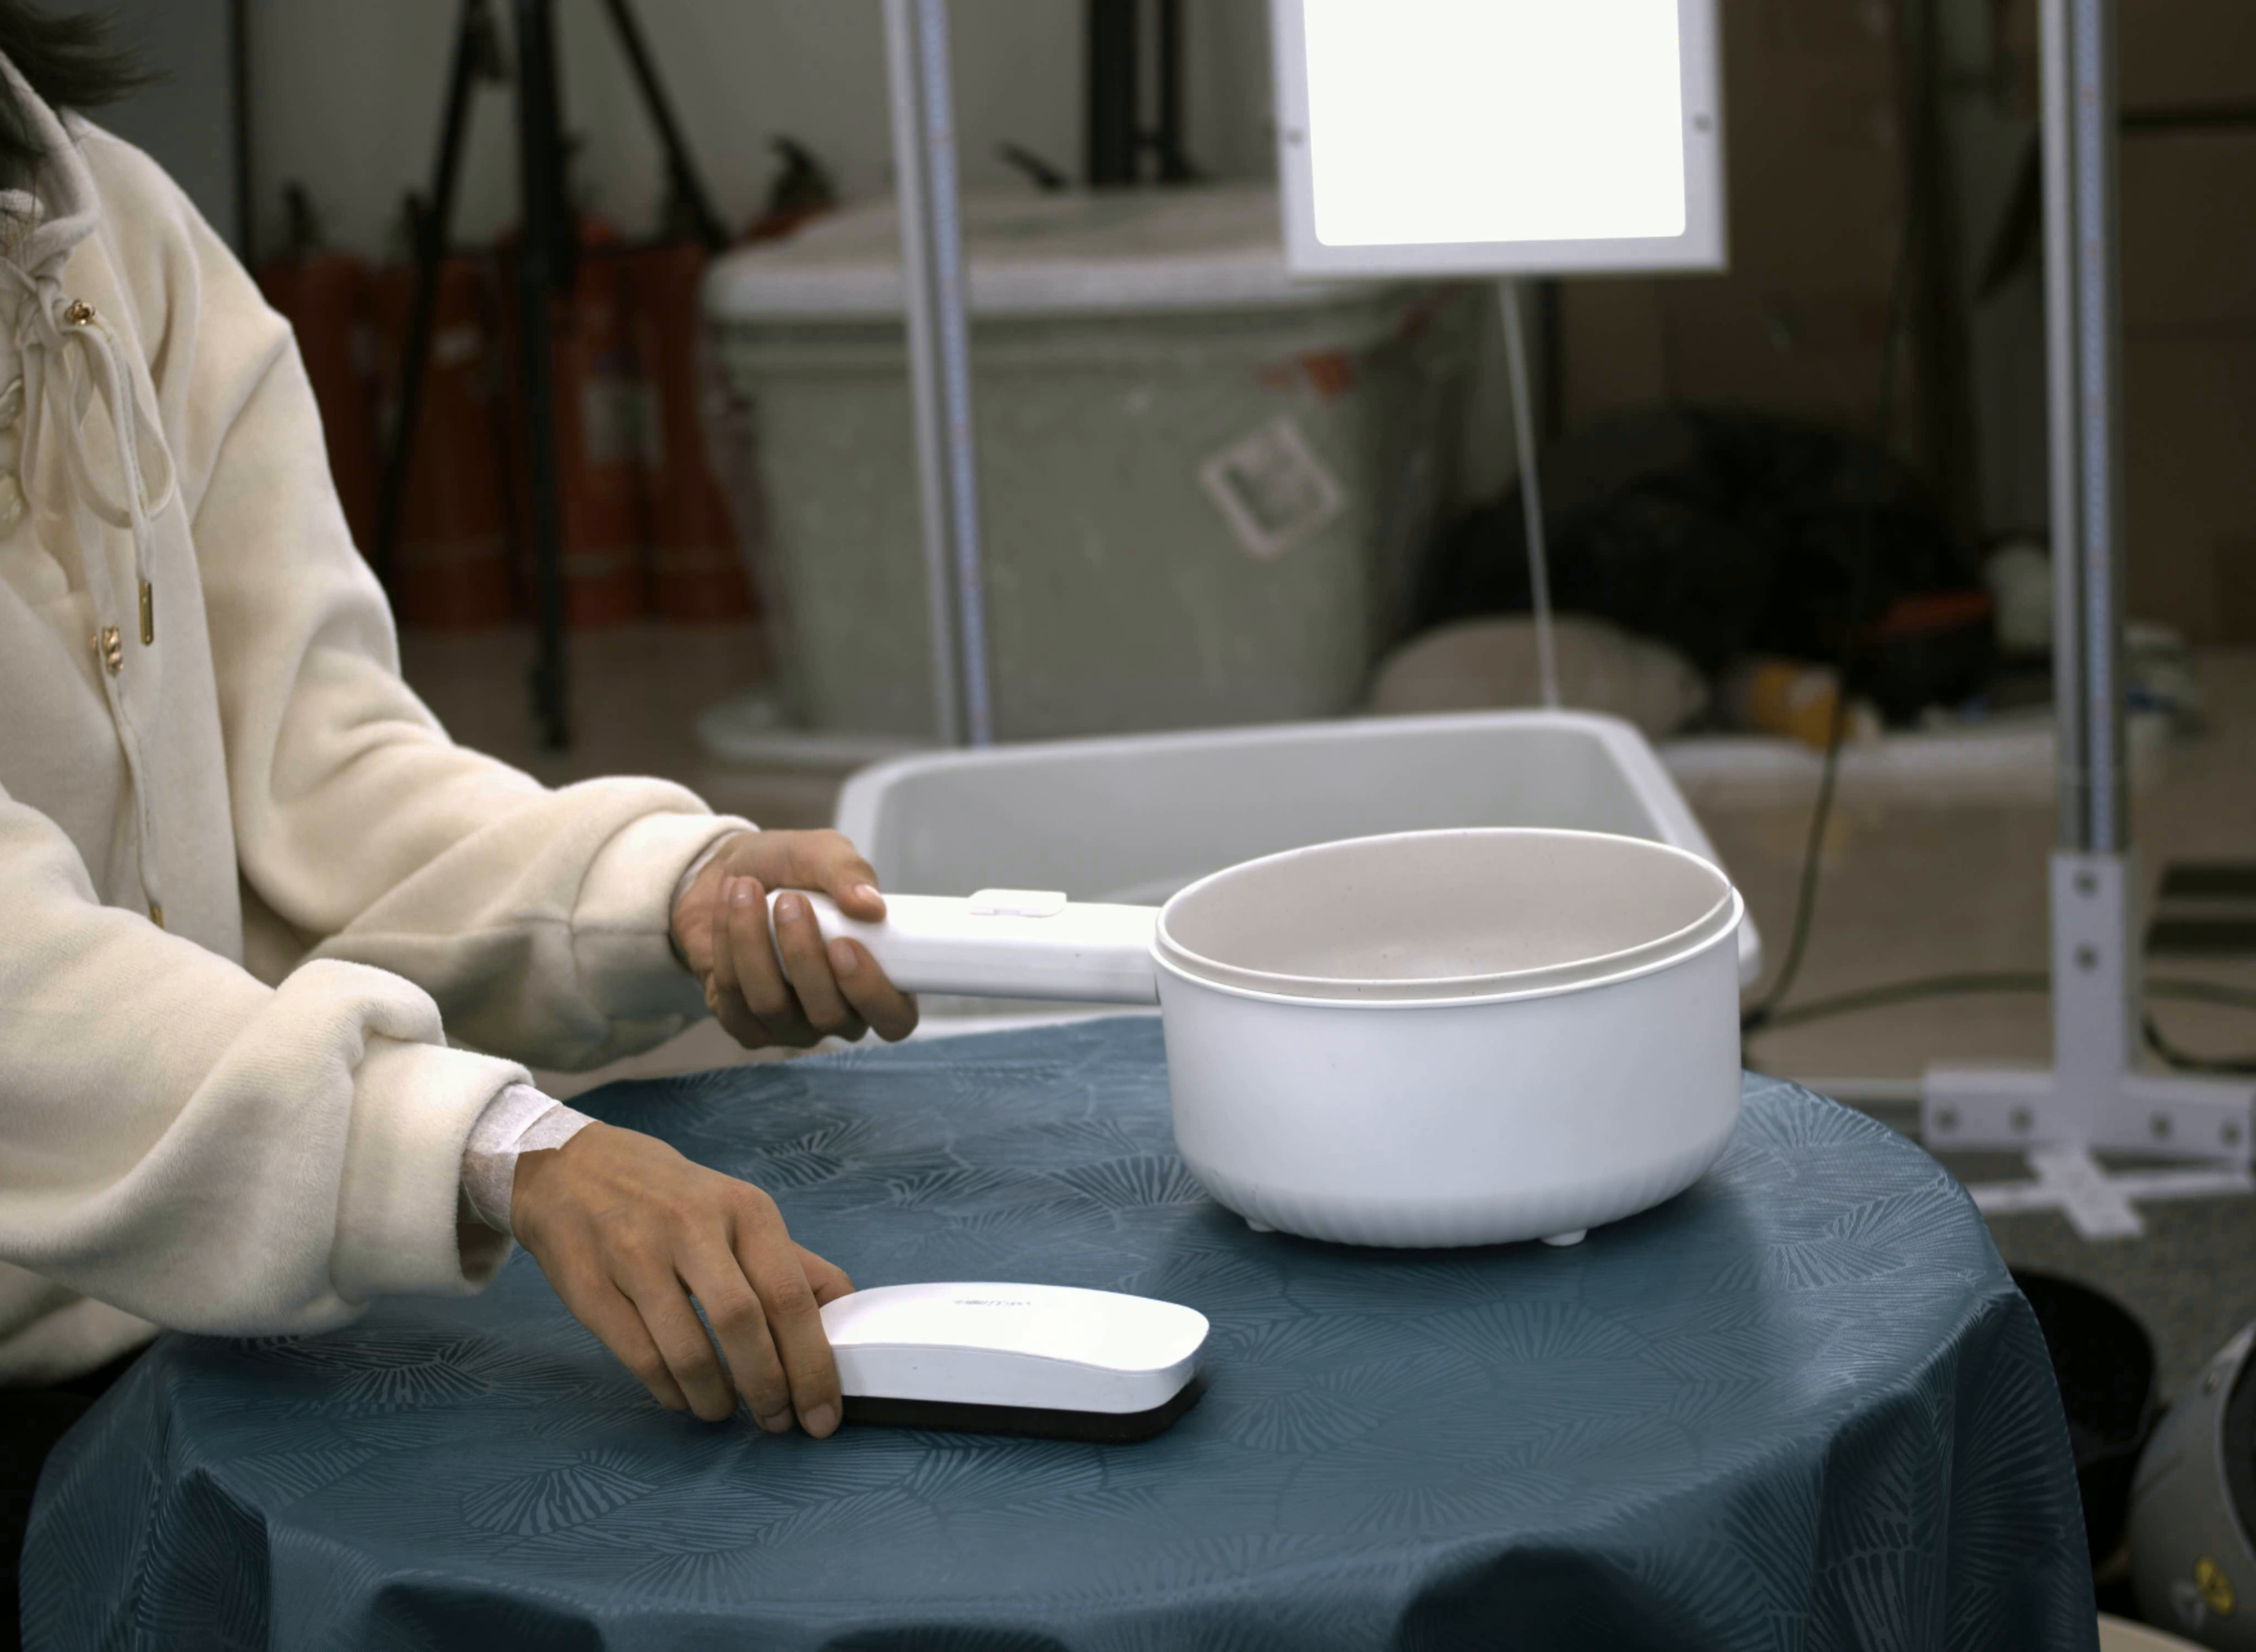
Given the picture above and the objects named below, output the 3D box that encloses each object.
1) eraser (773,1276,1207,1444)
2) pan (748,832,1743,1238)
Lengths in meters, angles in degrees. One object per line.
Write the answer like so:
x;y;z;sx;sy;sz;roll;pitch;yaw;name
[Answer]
-0.042;0.164;1.696;0.133;0.034;0.062;2;11;24;eraser
0.039;0.074;1.889;0.360;0.102;0.197;-2;12;24;pan
